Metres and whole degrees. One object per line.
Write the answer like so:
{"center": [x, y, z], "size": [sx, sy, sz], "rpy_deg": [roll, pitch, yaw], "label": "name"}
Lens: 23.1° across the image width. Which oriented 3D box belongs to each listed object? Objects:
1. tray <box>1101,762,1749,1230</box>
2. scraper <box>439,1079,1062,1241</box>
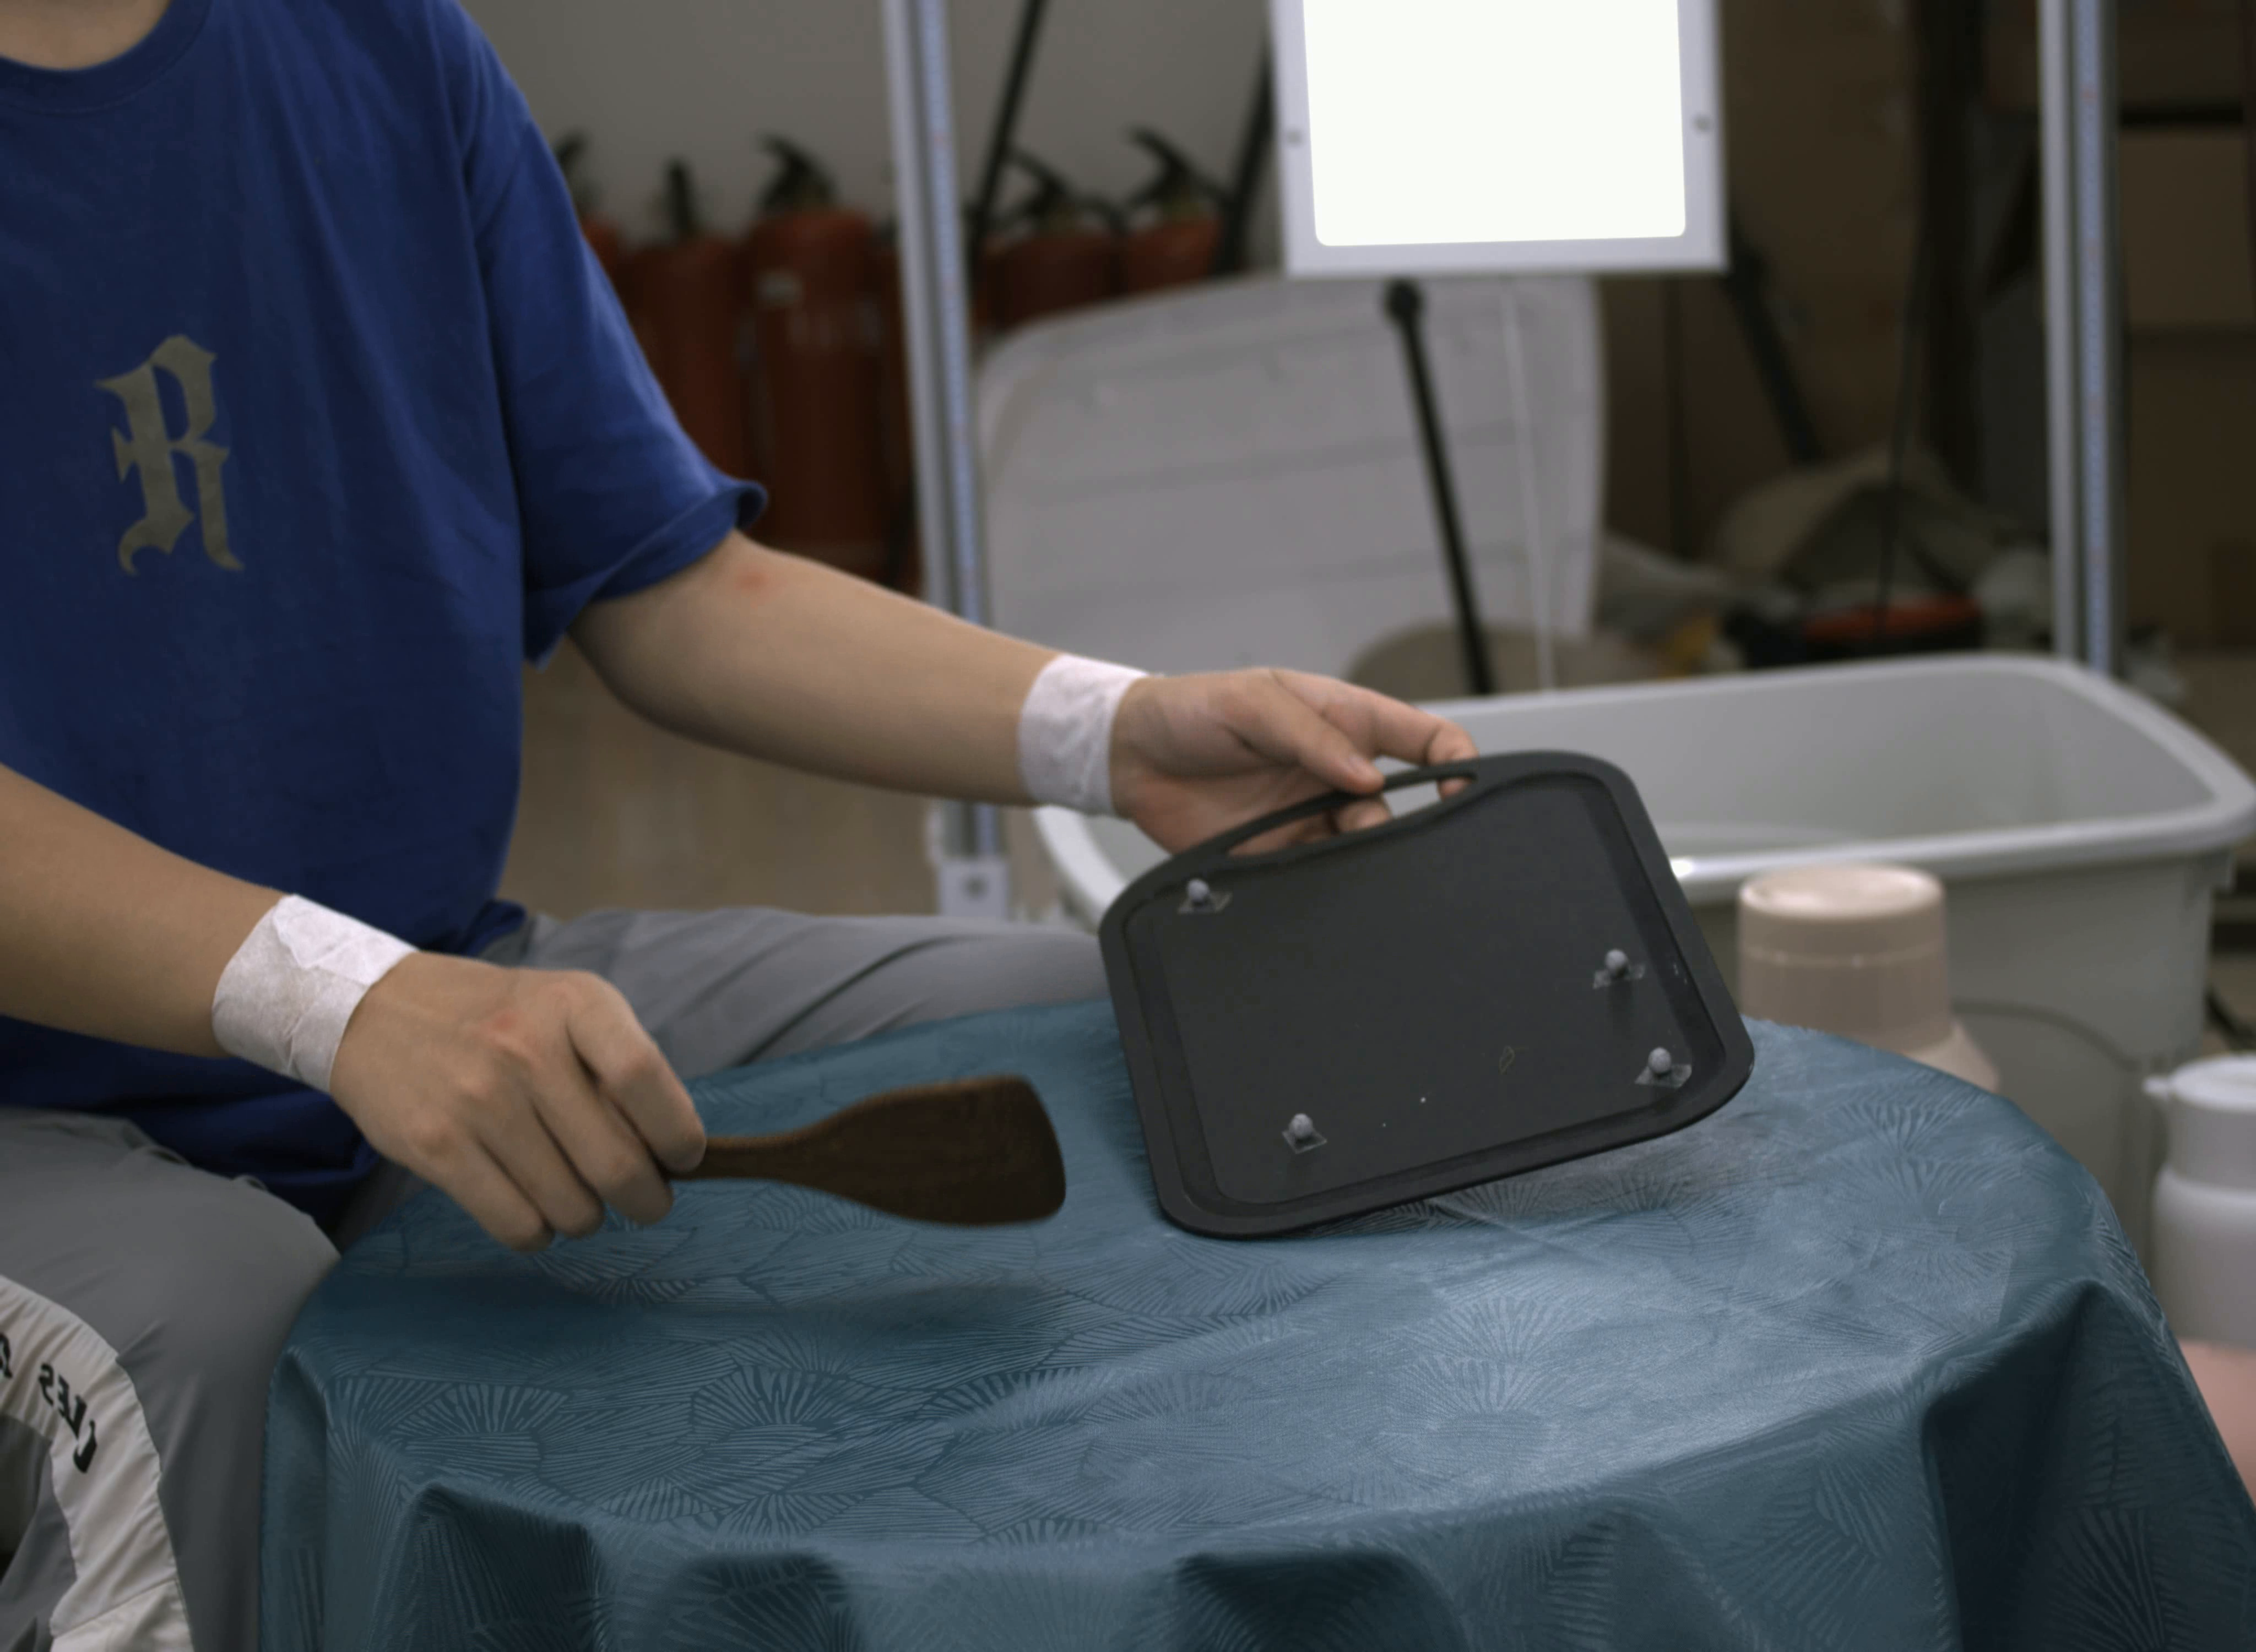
{"center": [0.099, 0.052, 1.974], "size": [0.211, 0.010, 0.325], "rpy_deg": [-16, 24, 2], "label": "tray"}
{"center": [-0.126, 0.112, 1.813], "size": [0.213, 0.075, 0.011], "rpy_deg": [-1, 47, 17], "label": "scraper"}
